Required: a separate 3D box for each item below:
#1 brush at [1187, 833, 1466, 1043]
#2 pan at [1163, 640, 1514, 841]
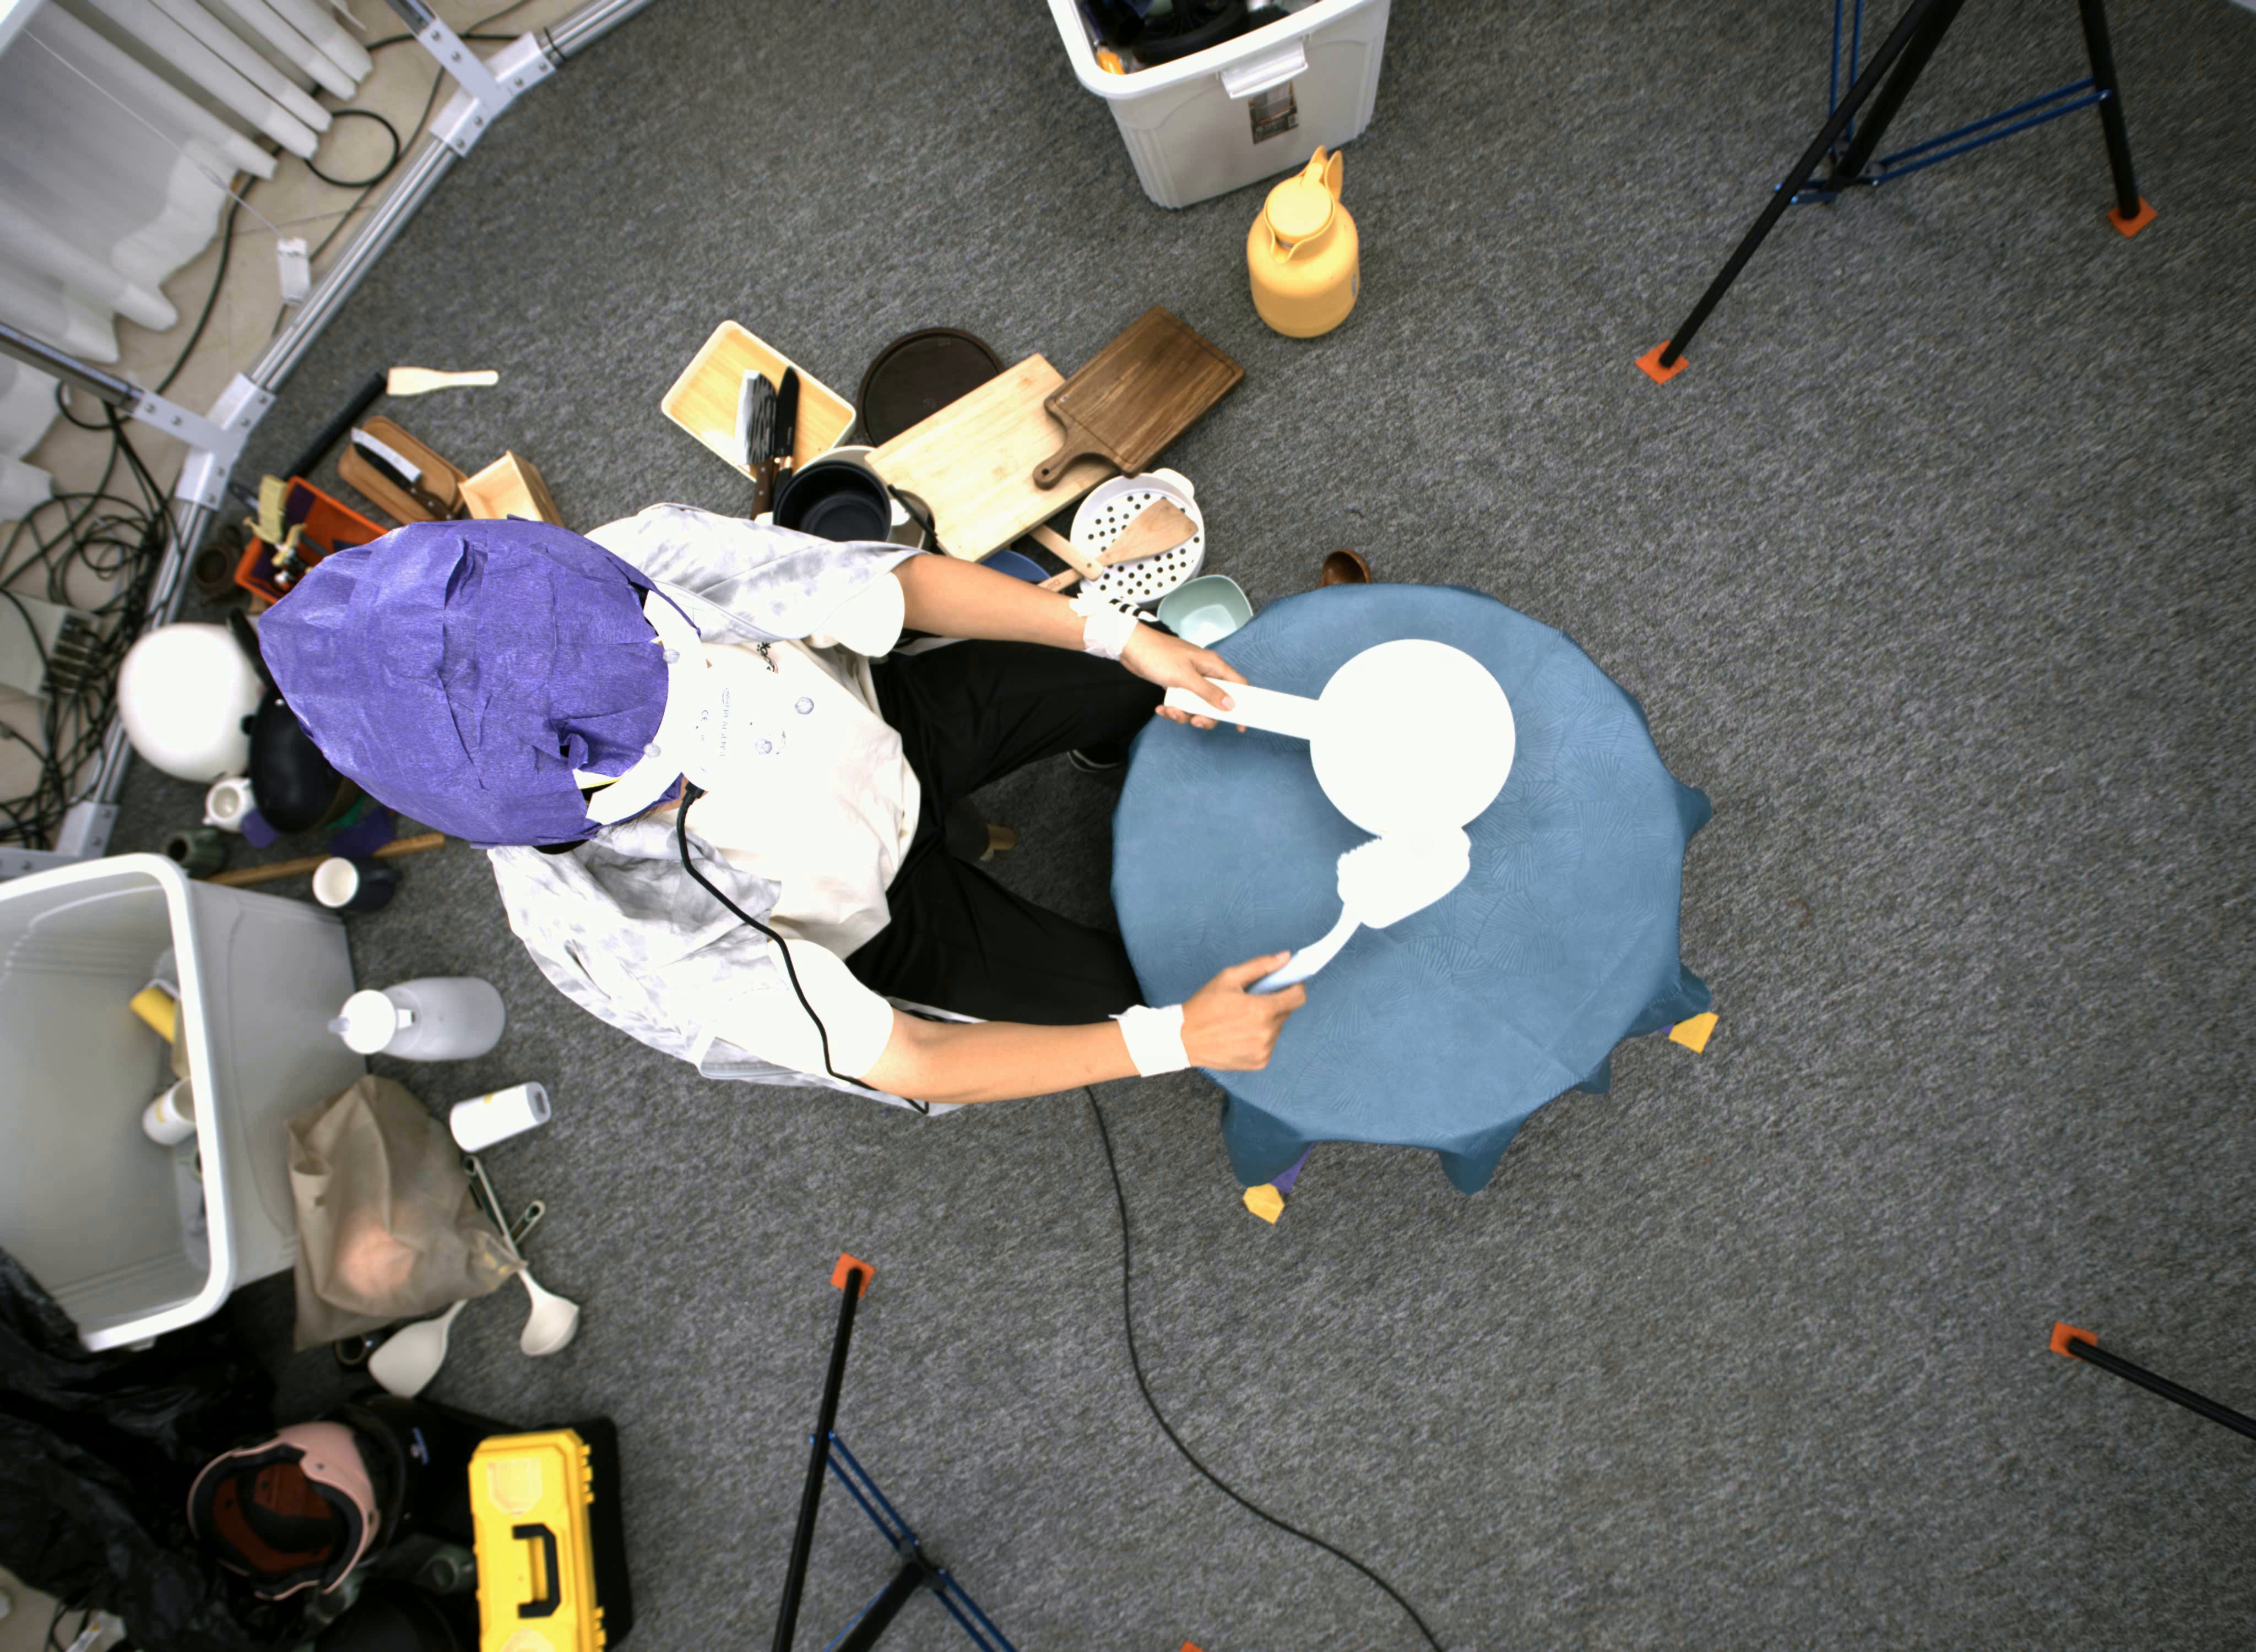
[{"bbox_3d":[0.185,0.101,1.350,0.330,0.084,0.082,-36,75,21],"label":"brush"},{"bbox_3d":[0.215,-0.101,1.427,0.355,0.102,0.201,13,89,12],"label":"pan"}]
